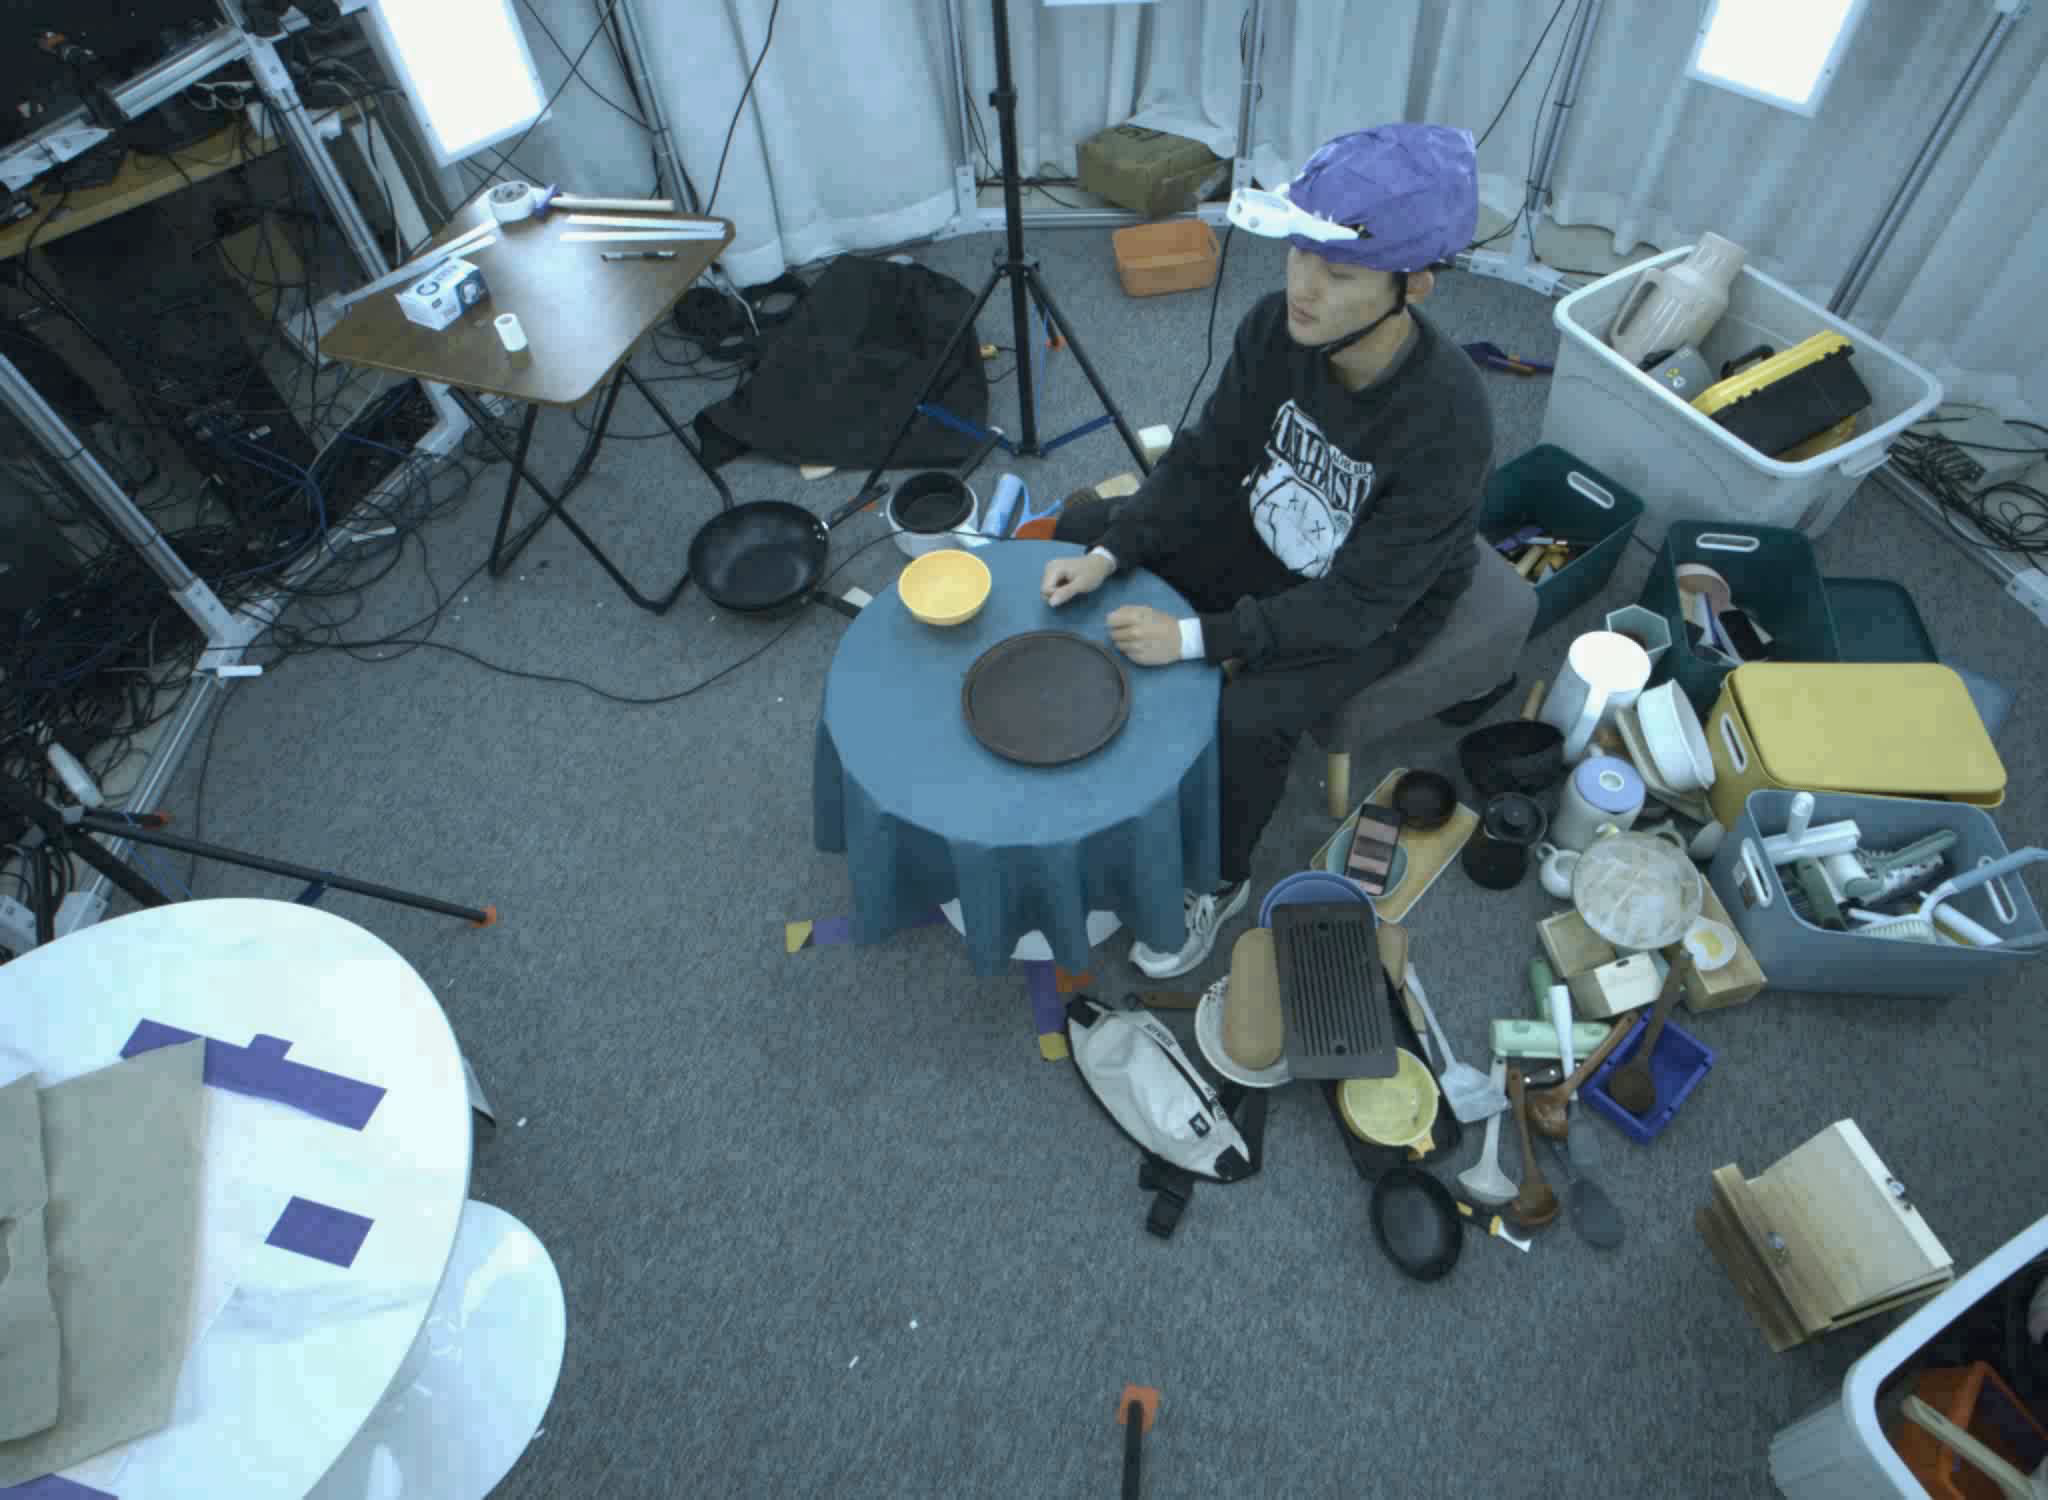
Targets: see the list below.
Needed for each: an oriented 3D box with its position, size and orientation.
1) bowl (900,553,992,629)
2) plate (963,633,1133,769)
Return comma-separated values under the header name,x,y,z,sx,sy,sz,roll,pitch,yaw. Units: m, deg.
name,x,y,z,sx,sy,sz,roll,pitch,yaw
bowl,-0.122,-0.240,1.935,0.145,0.060,0.144,1,56,0
plate,0.035,-0.074,1.835,0.254,0.029,0.252,0,53,2
